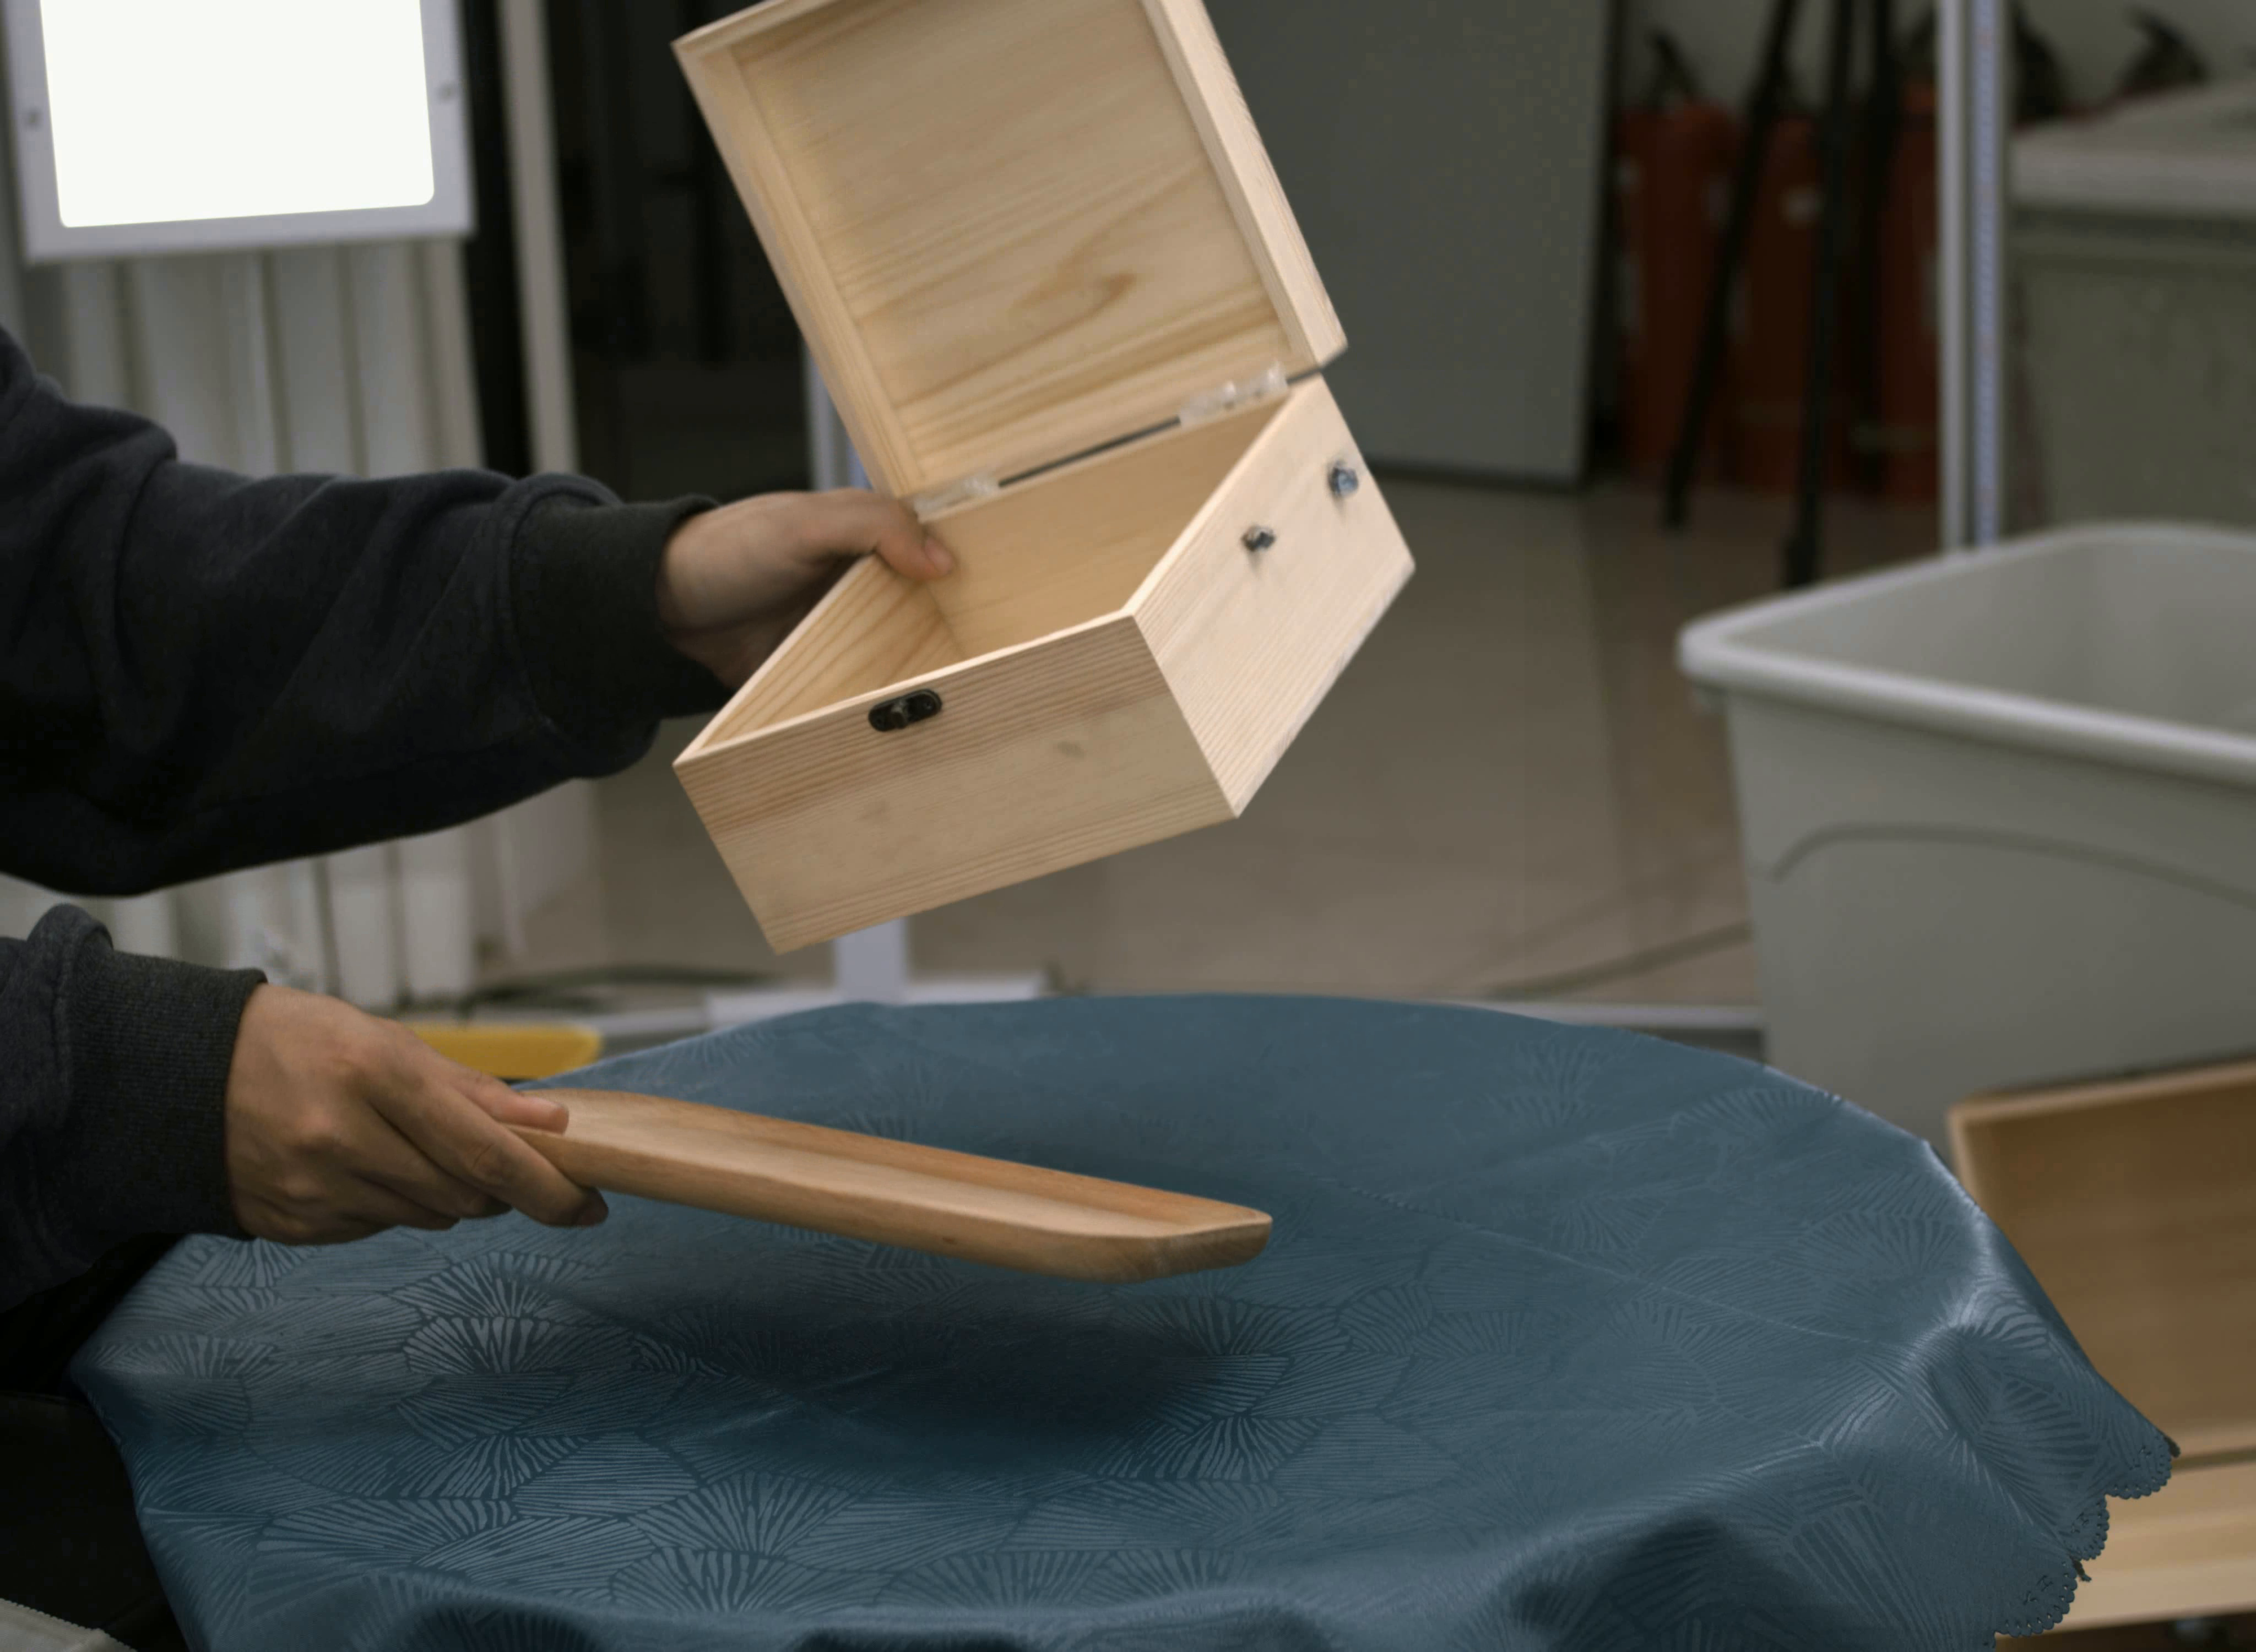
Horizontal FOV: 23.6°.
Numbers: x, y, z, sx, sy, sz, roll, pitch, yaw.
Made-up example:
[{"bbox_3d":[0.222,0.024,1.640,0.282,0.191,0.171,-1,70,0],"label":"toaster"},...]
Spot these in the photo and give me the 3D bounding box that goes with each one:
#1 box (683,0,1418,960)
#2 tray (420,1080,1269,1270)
[{"bbox_3d":[-0.053,-0.145,1.762,0.183,0.253,0.263,-22,17,31],"label":"box"},{"bbox_3d":[-0.086,0.103,1.621,0.251,0.023,0.128,8,-1,27],"label":"tray"}]
